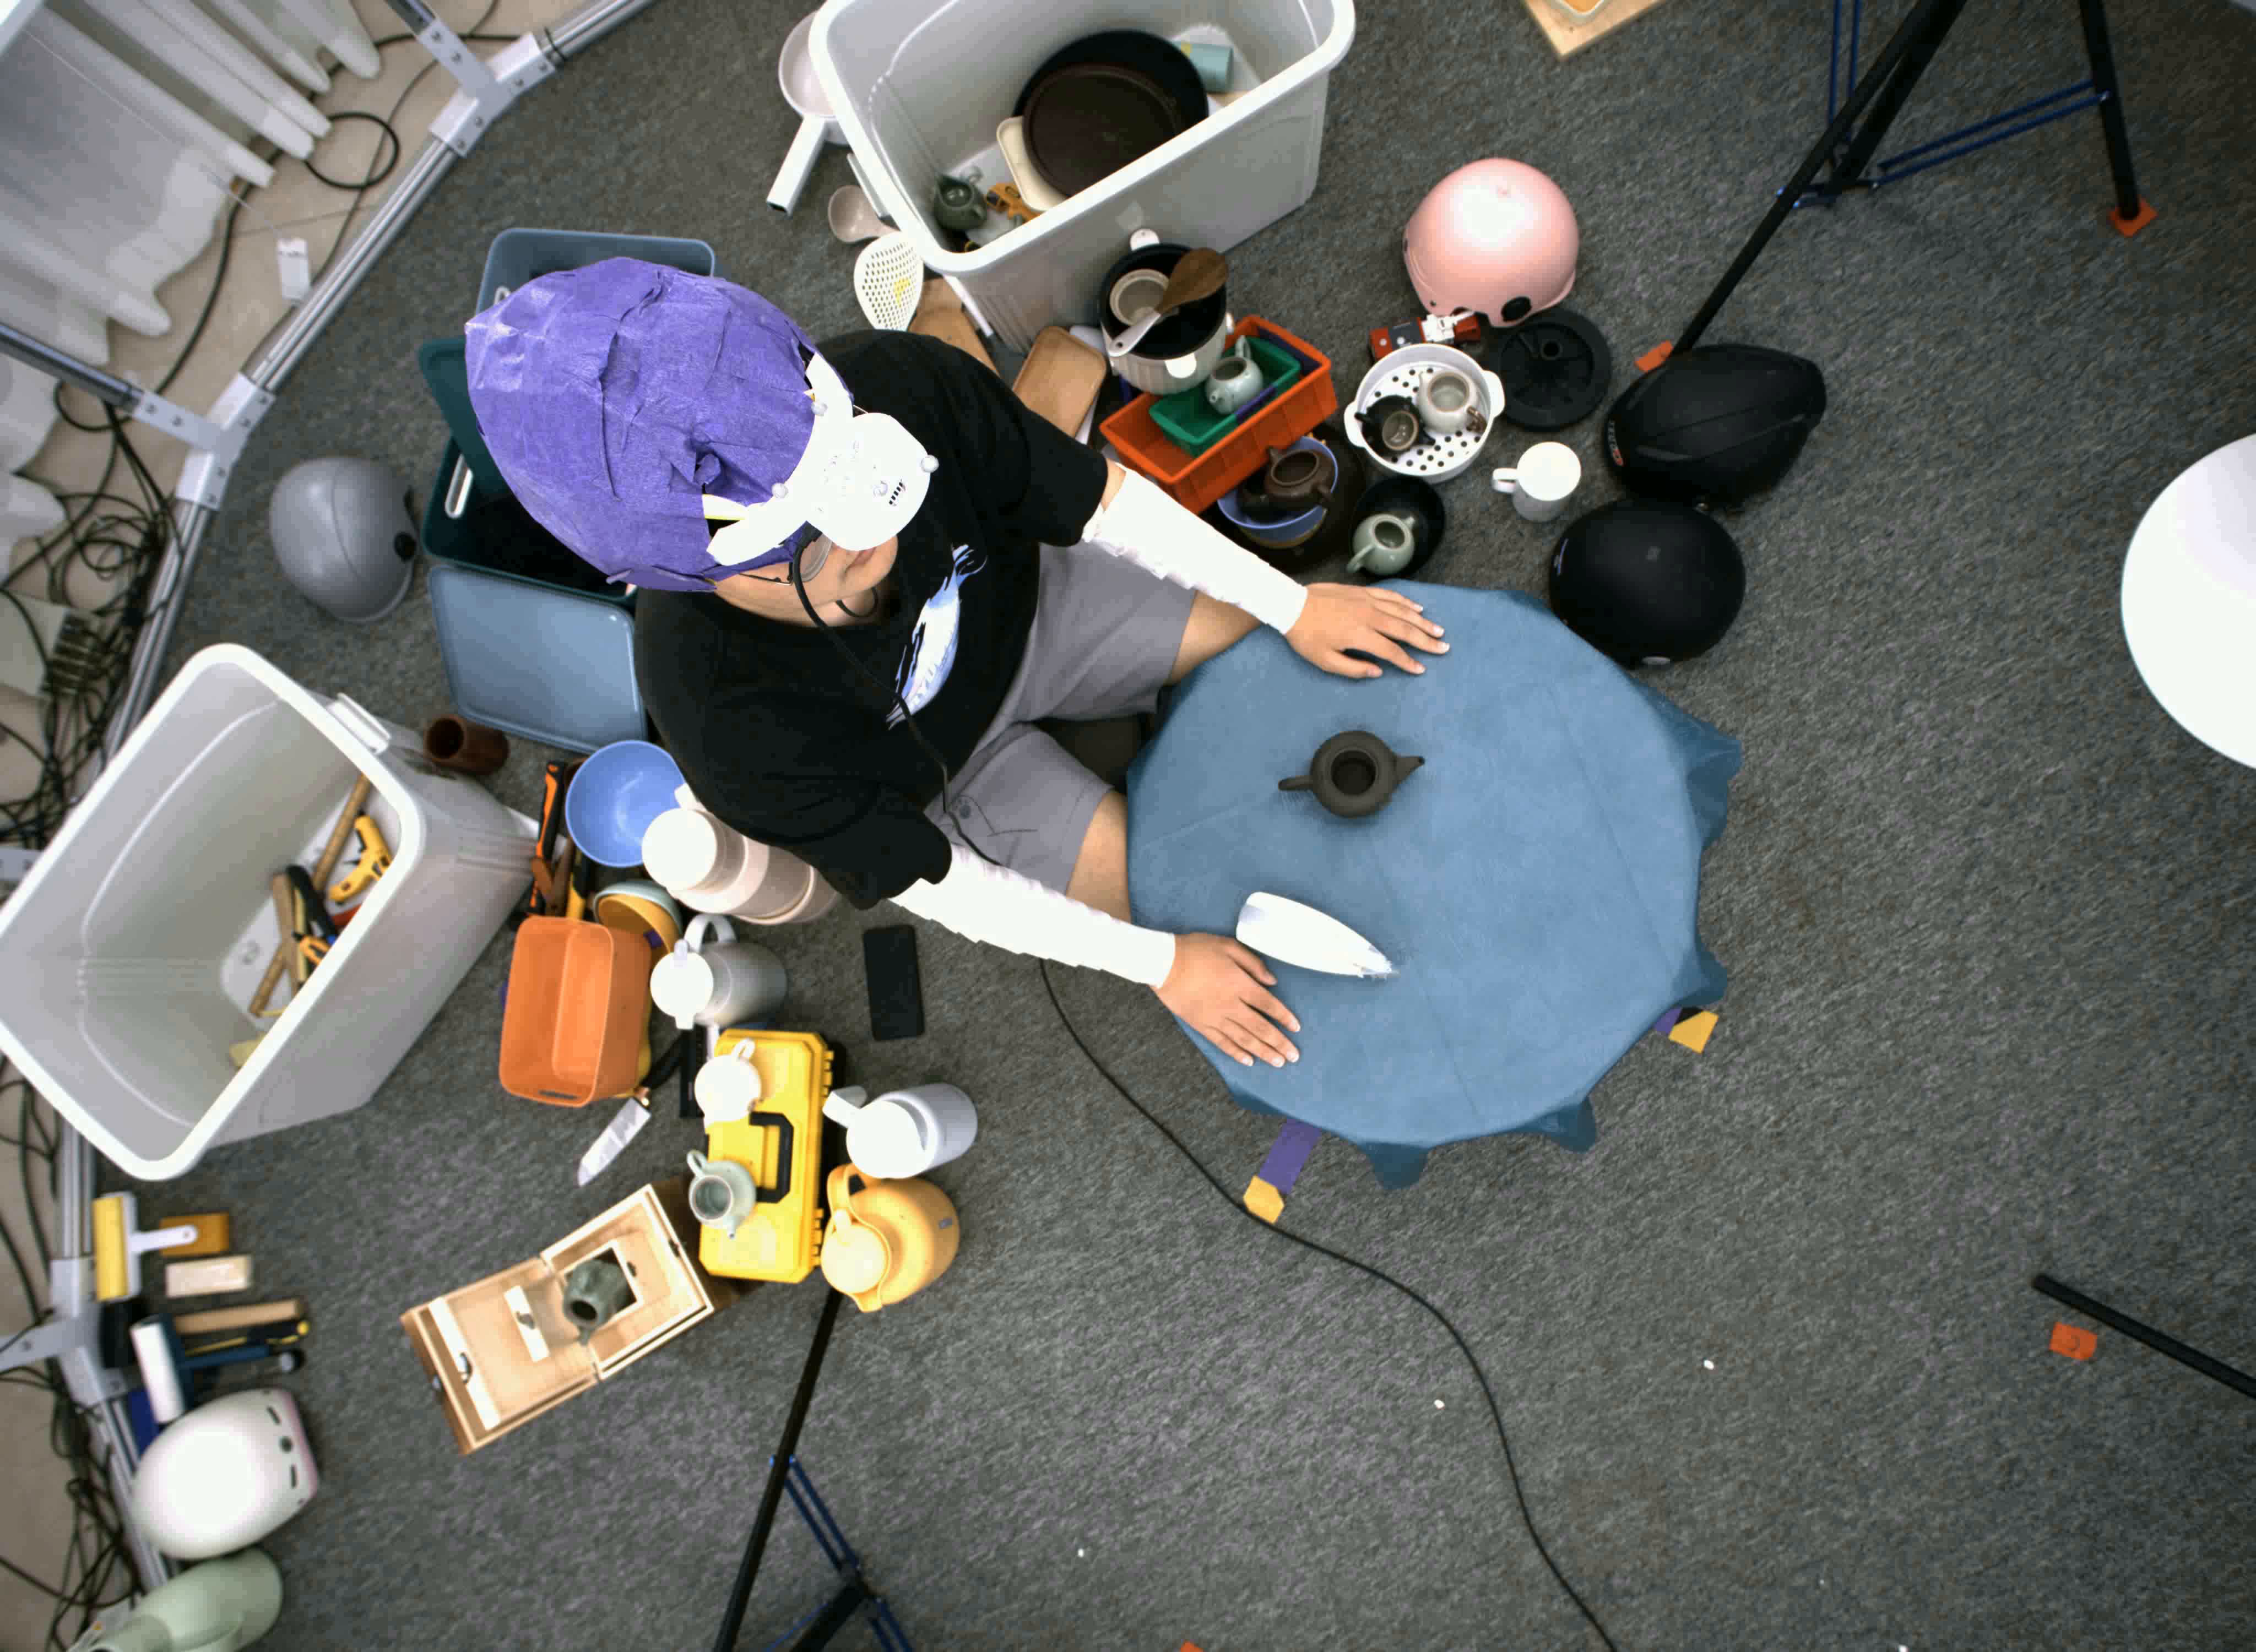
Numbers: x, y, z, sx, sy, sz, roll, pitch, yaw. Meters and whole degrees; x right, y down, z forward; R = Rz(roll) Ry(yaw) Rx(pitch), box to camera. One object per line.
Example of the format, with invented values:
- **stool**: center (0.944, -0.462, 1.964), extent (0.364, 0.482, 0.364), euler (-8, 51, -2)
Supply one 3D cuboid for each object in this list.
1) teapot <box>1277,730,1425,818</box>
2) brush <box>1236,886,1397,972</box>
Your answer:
- **teapot**: center (0.232, -0.054, 1.440), extent (0.155, 0.064, 0.092), euler (-8, 84, 9)
- **brush**: center (0.194, 0.114, 1.424), extent (0.175, 0.094, 0.061), euler (21, 93, 9)
